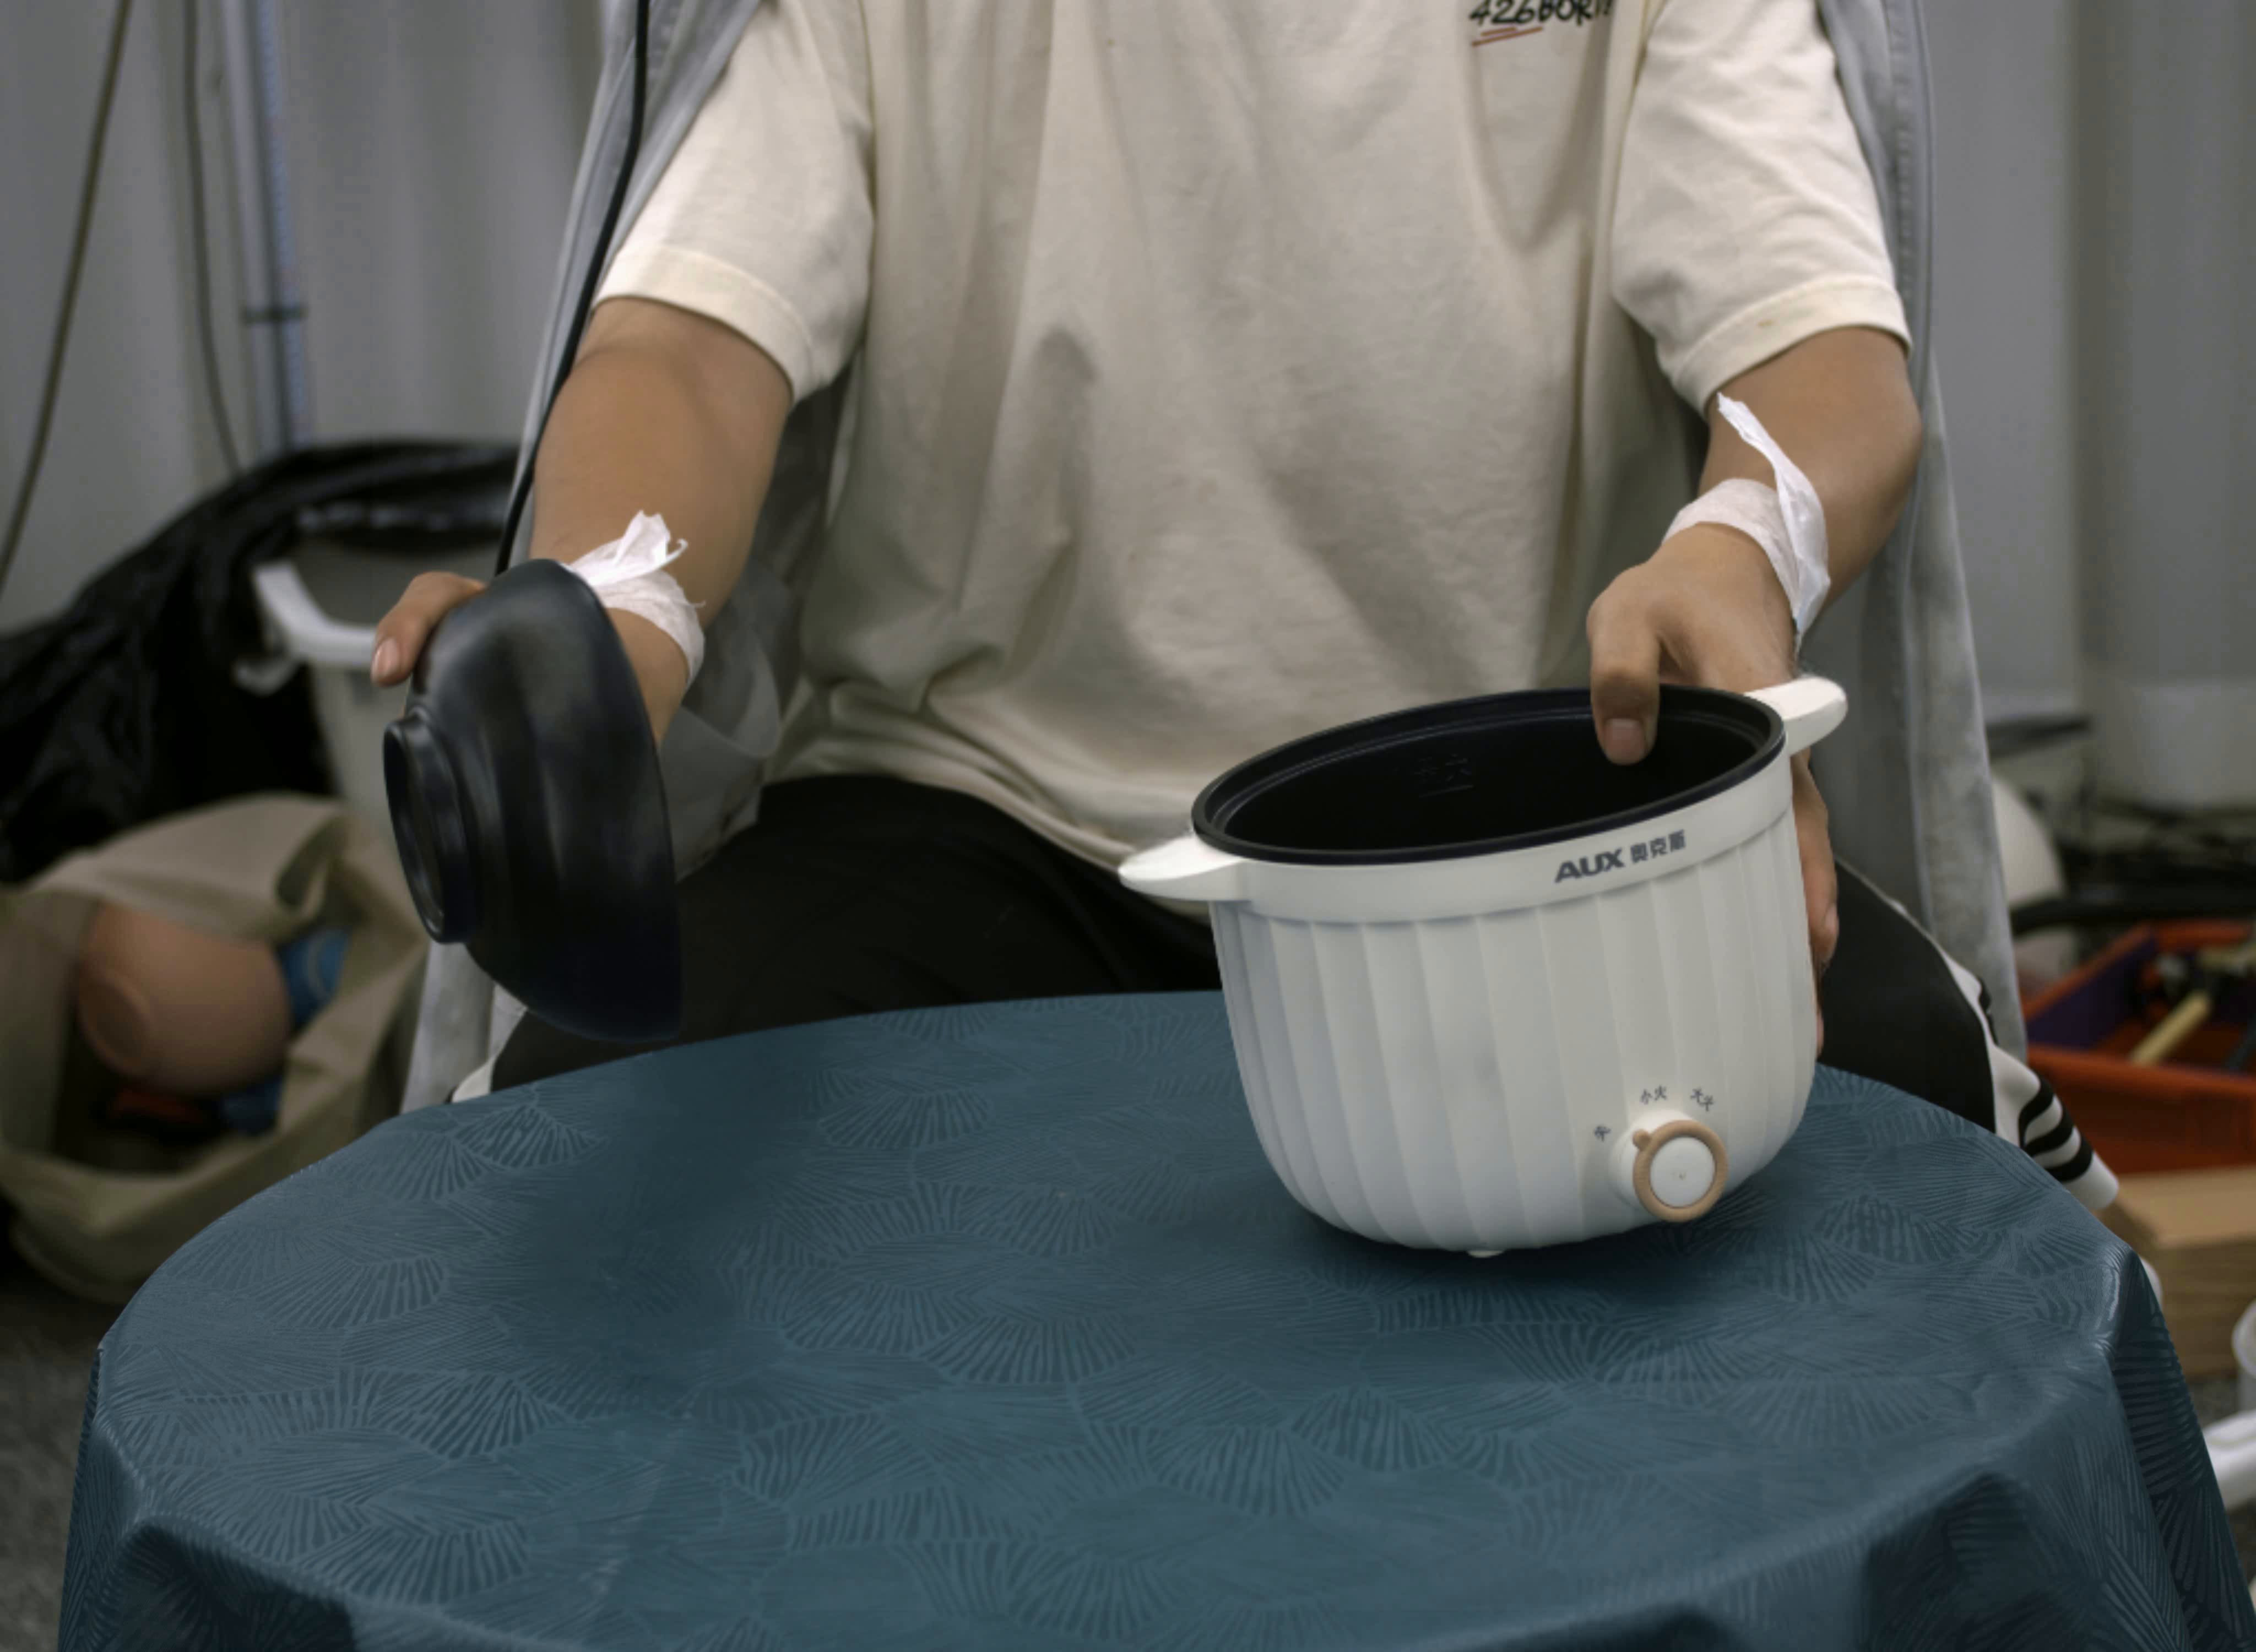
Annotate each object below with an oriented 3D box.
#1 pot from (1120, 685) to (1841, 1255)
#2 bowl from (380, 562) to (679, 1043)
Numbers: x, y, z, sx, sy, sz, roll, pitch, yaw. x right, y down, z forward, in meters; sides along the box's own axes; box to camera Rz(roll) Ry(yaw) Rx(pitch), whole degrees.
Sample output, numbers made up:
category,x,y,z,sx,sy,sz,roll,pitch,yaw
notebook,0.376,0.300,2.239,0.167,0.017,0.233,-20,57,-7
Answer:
category,x,y,z,sx,sy,sz,roll,pitch,yaw
pot,0.122,0.046,1.663,0.239,0.142,0.191,-15,11,-19
bowl,-0.185,-0.004,1.646,0.066,0.136,0.173,-11,42,-18
